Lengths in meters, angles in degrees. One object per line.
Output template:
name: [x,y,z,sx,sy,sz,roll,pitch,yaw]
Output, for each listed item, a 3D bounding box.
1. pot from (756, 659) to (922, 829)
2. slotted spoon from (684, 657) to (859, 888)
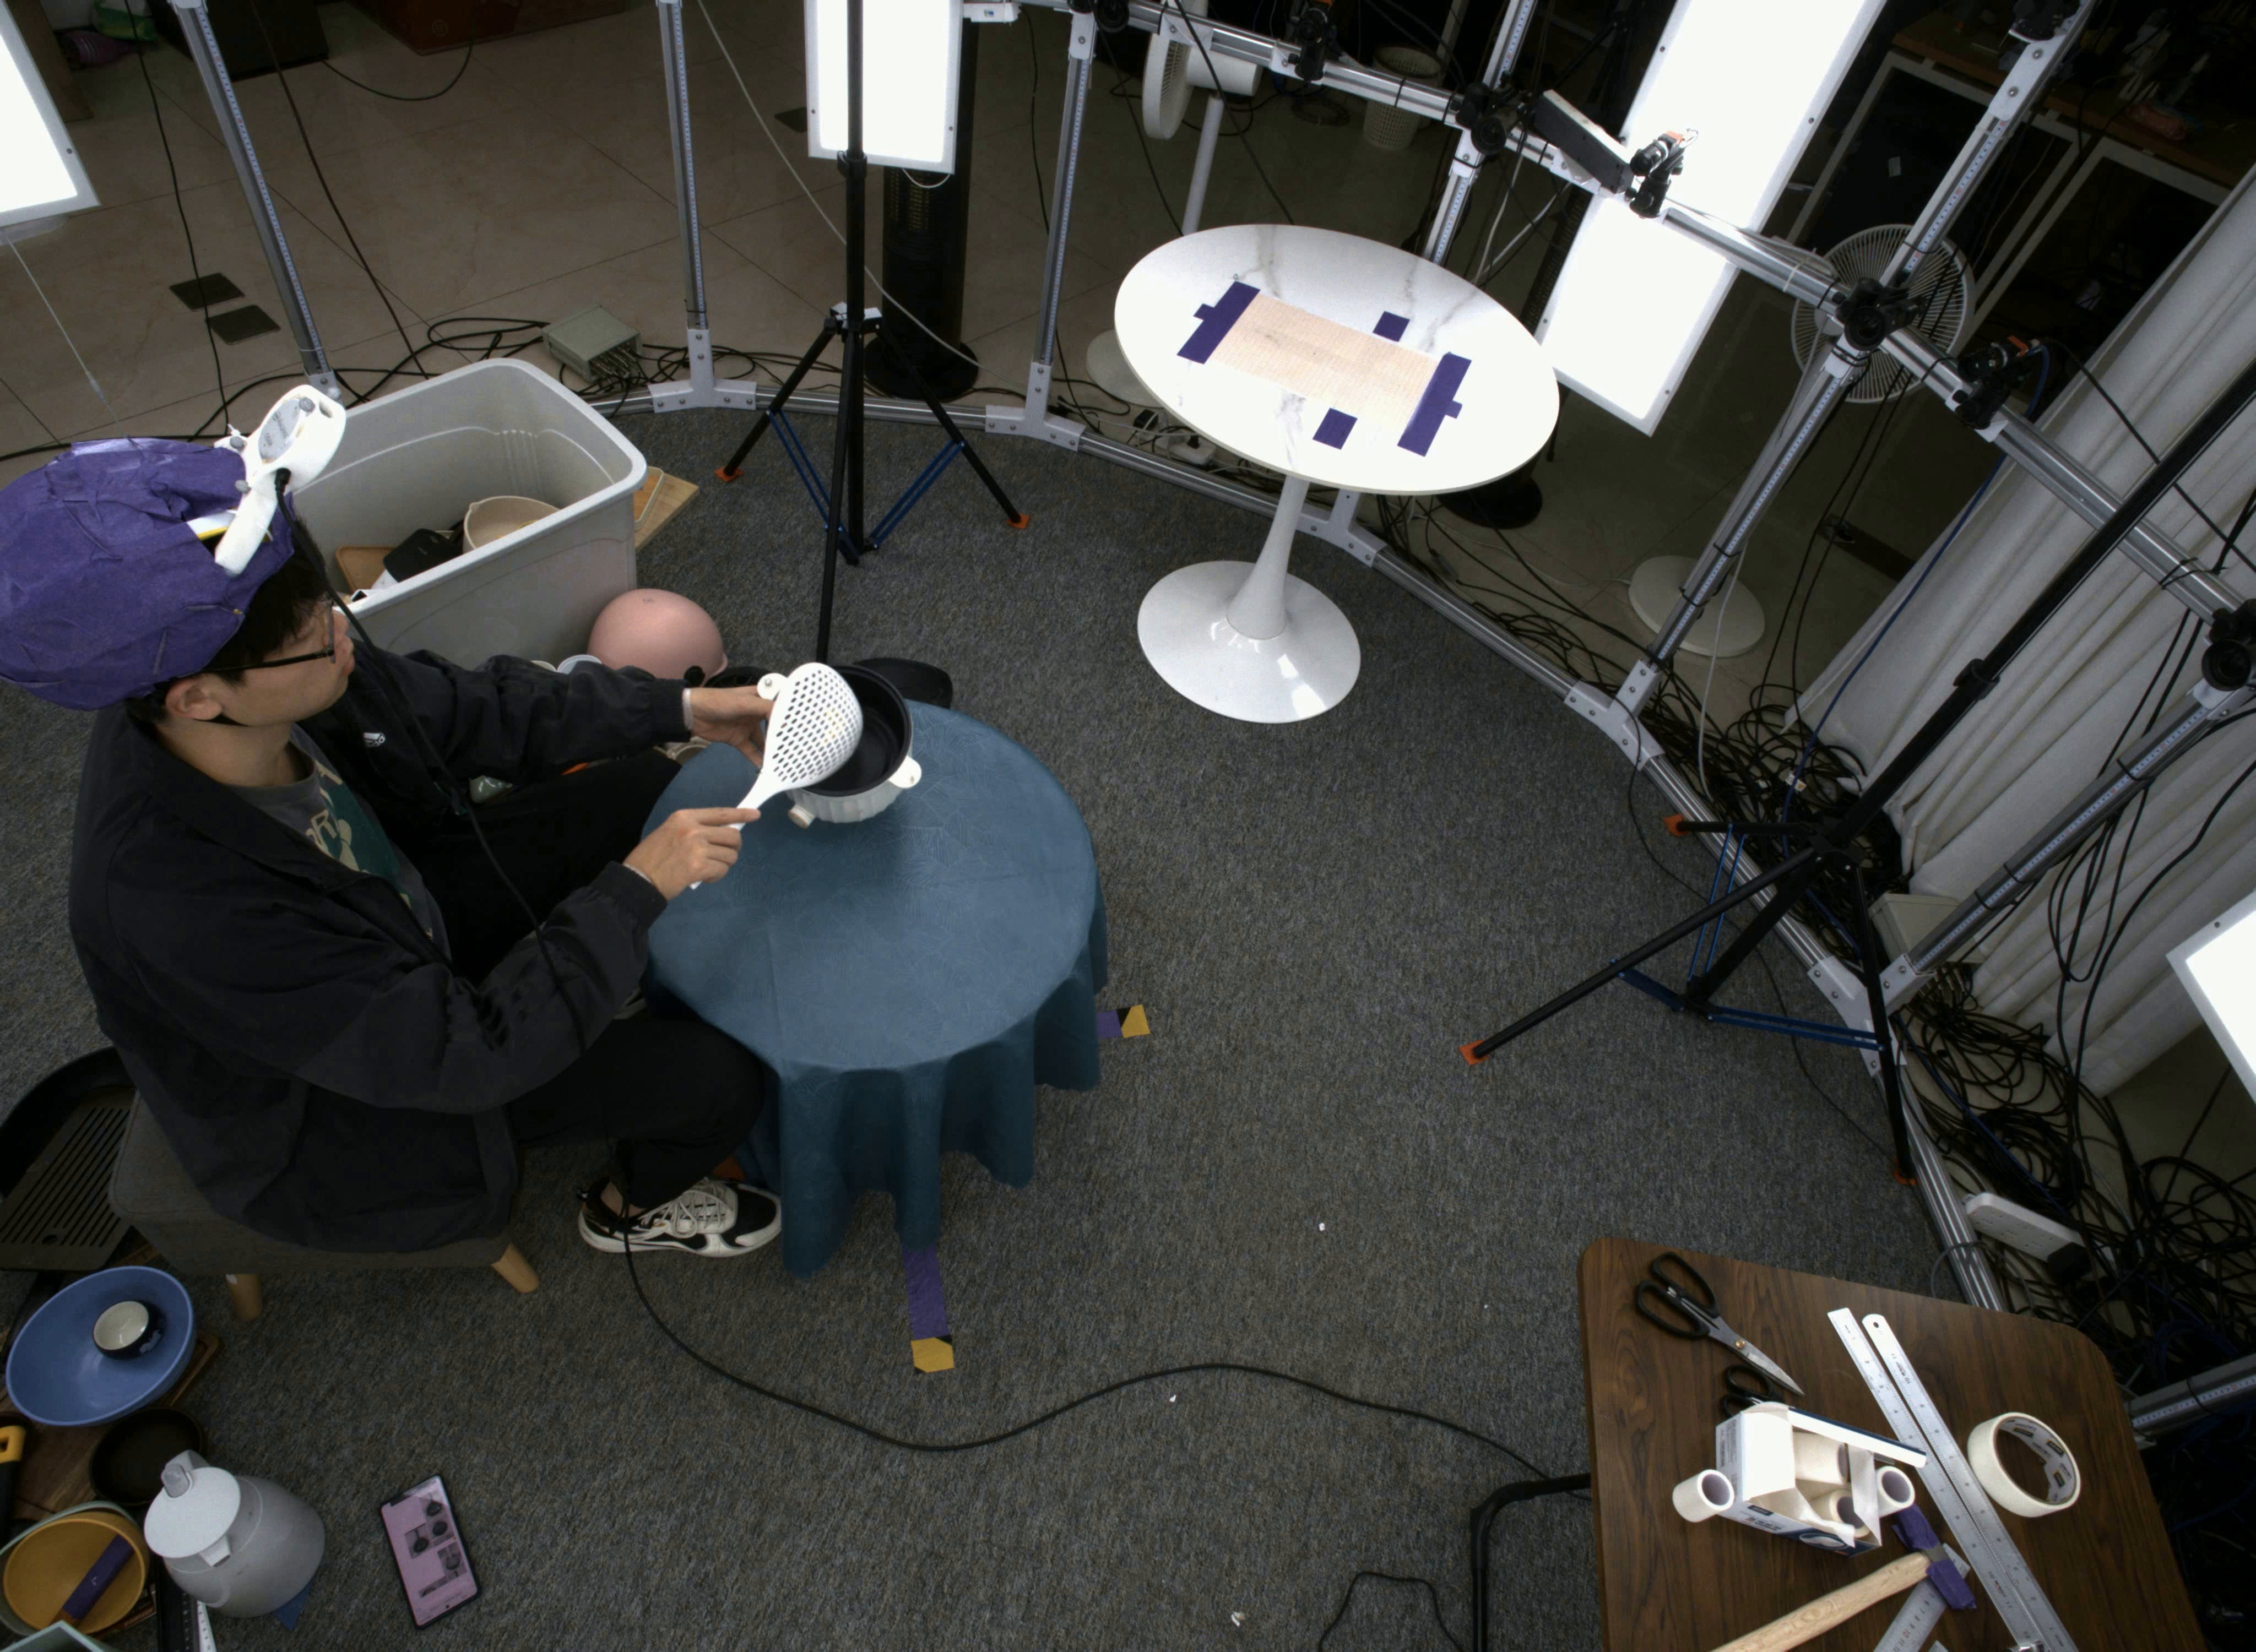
pot: [-0.369,-0.095,1.663,0.238,0.144,0.190,31,65,3]
slotted spoon: [-0.418,-0.056,1.519,0.048,0.142,0.346,5,49,36]
